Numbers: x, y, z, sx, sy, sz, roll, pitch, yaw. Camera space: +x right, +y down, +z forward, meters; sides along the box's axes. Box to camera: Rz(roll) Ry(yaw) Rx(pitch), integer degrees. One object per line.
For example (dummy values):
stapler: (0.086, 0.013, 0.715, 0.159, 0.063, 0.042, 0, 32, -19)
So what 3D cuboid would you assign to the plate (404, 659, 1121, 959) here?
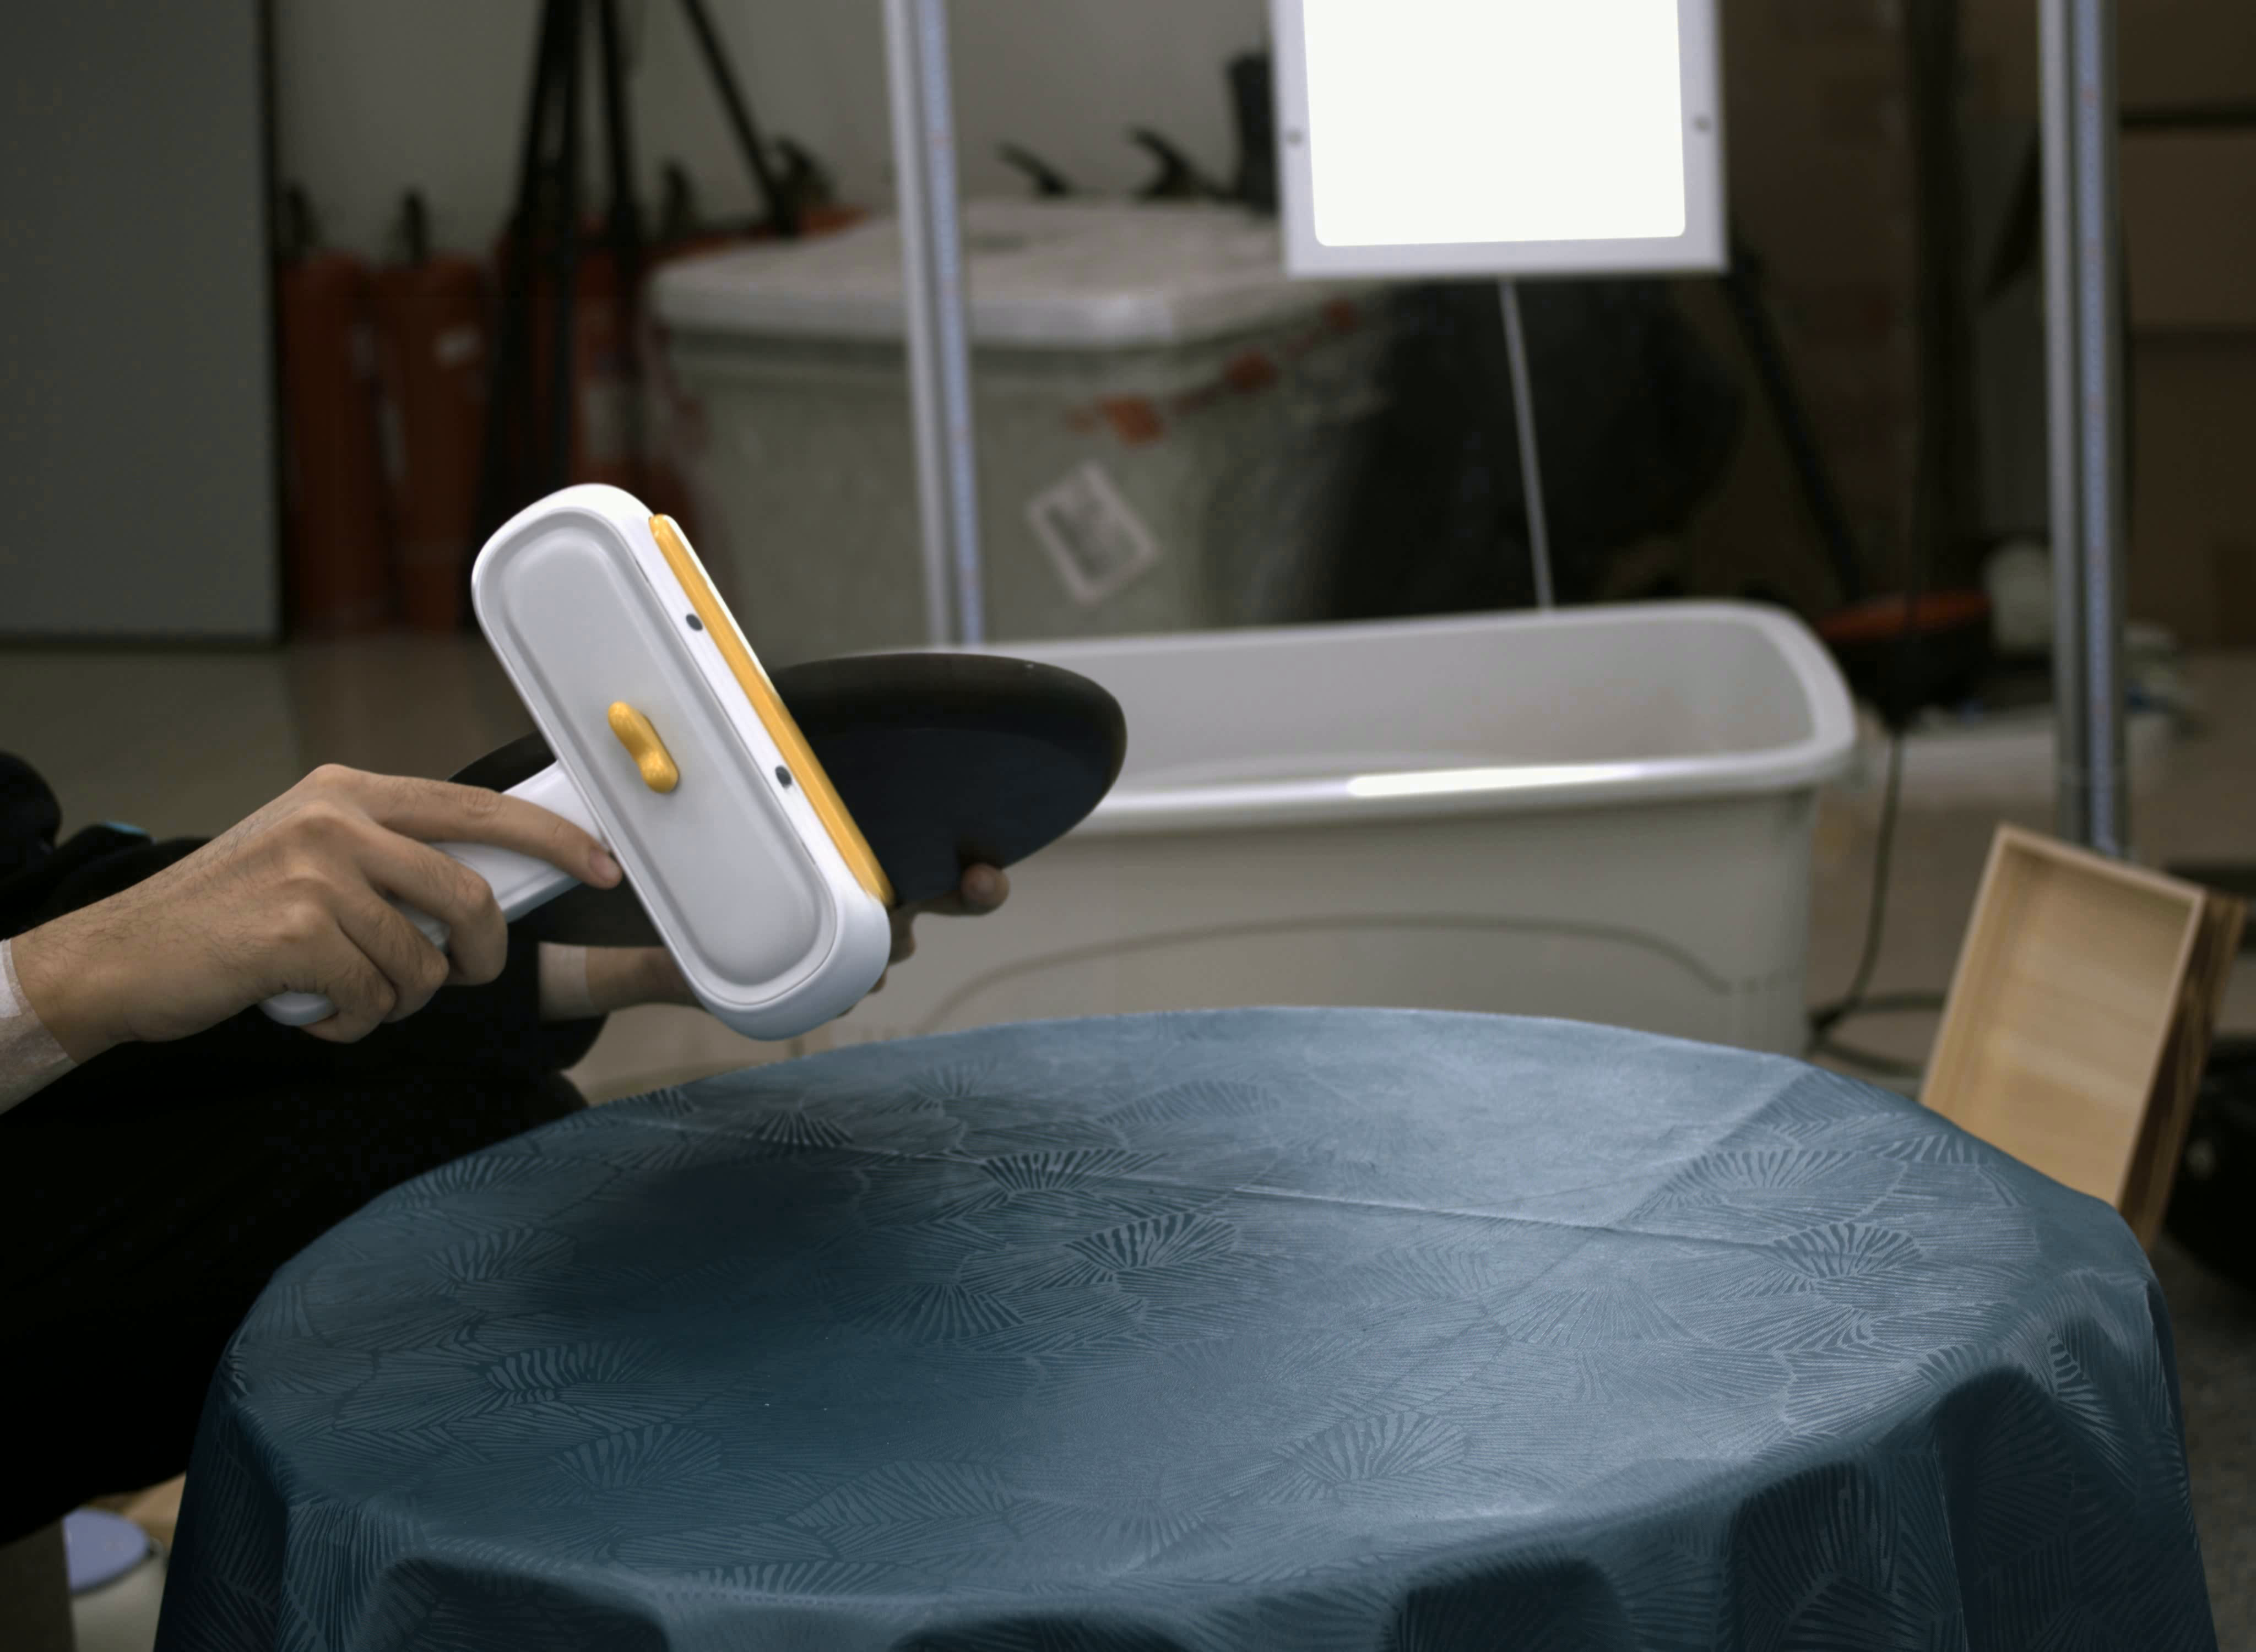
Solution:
plate: (-0.124, -0.003, 1.905, 0.253, 0.029, 0.256, -11, -18, -5)

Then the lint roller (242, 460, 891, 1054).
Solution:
lint roller: (-0.195, 0.005, 1.757, 0.192, 0.193, 0.074, -36, -6, 2)
